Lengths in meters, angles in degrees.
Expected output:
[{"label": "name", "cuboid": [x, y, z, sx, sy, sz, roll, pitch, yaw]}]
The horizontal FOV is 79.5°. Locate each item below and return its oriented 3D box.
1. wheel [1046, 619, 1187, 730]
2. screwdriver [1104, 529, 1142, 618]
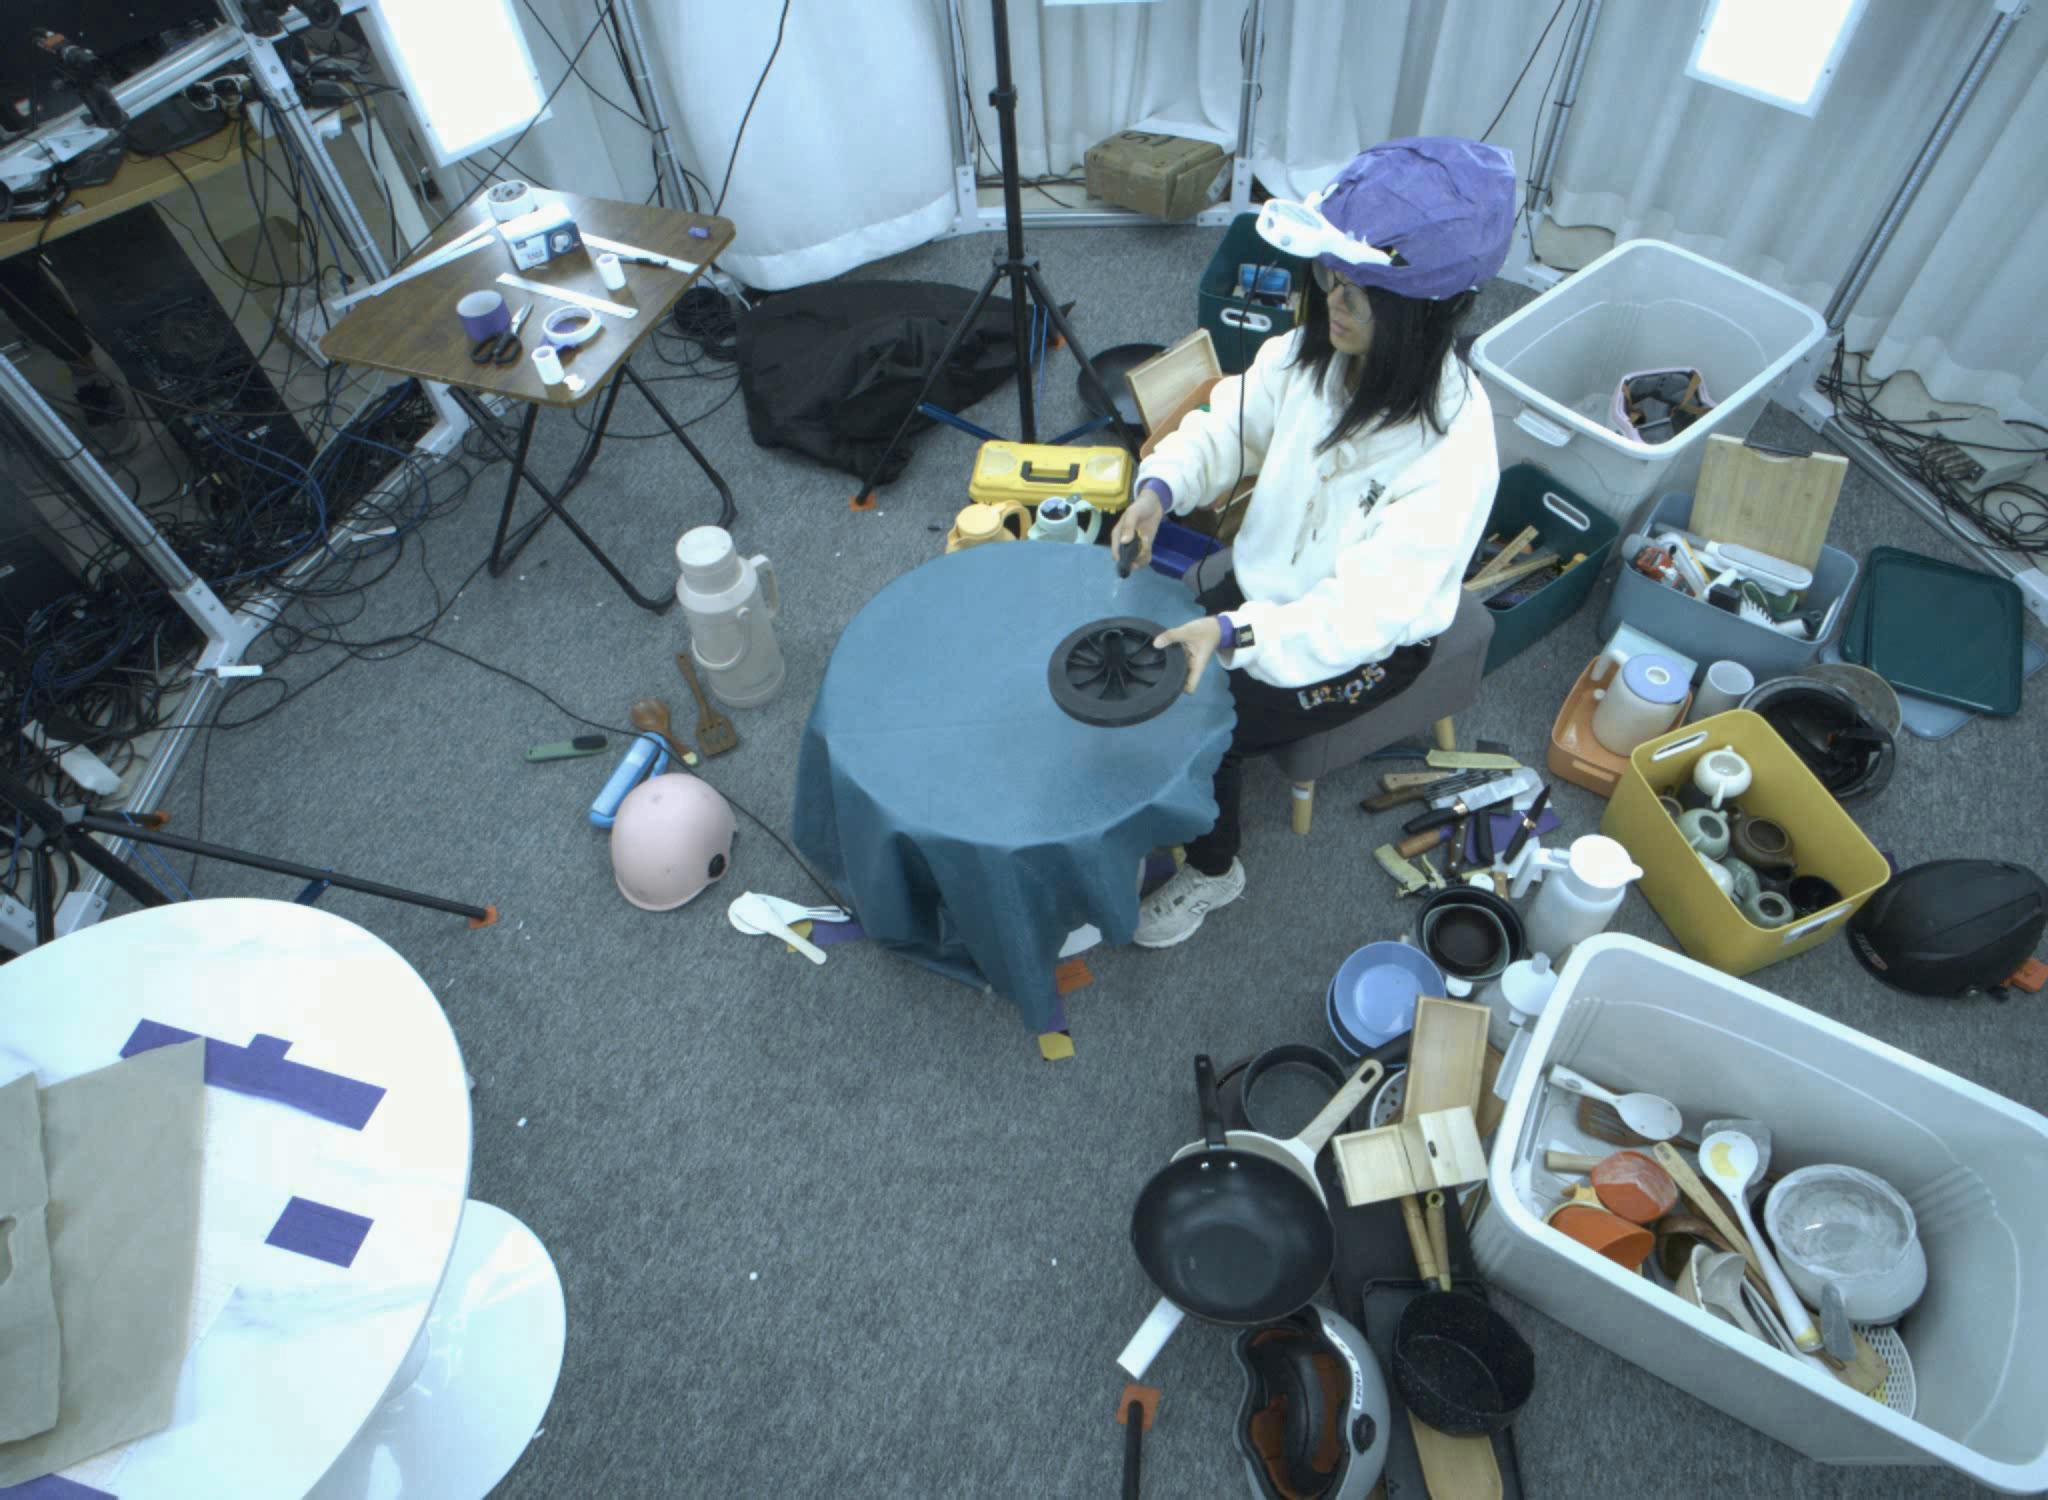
[{"label": "wheel", "cuboid": [0.119, -0.117, 1.634, 0.188, 0.080, 0.186, 4, 53, 16]}, {"label": "screwdriver", "cuboid": [0.138, -0.249, 1.754, 0.031, 0.032, 0.197, 11, 51, 11]}]
